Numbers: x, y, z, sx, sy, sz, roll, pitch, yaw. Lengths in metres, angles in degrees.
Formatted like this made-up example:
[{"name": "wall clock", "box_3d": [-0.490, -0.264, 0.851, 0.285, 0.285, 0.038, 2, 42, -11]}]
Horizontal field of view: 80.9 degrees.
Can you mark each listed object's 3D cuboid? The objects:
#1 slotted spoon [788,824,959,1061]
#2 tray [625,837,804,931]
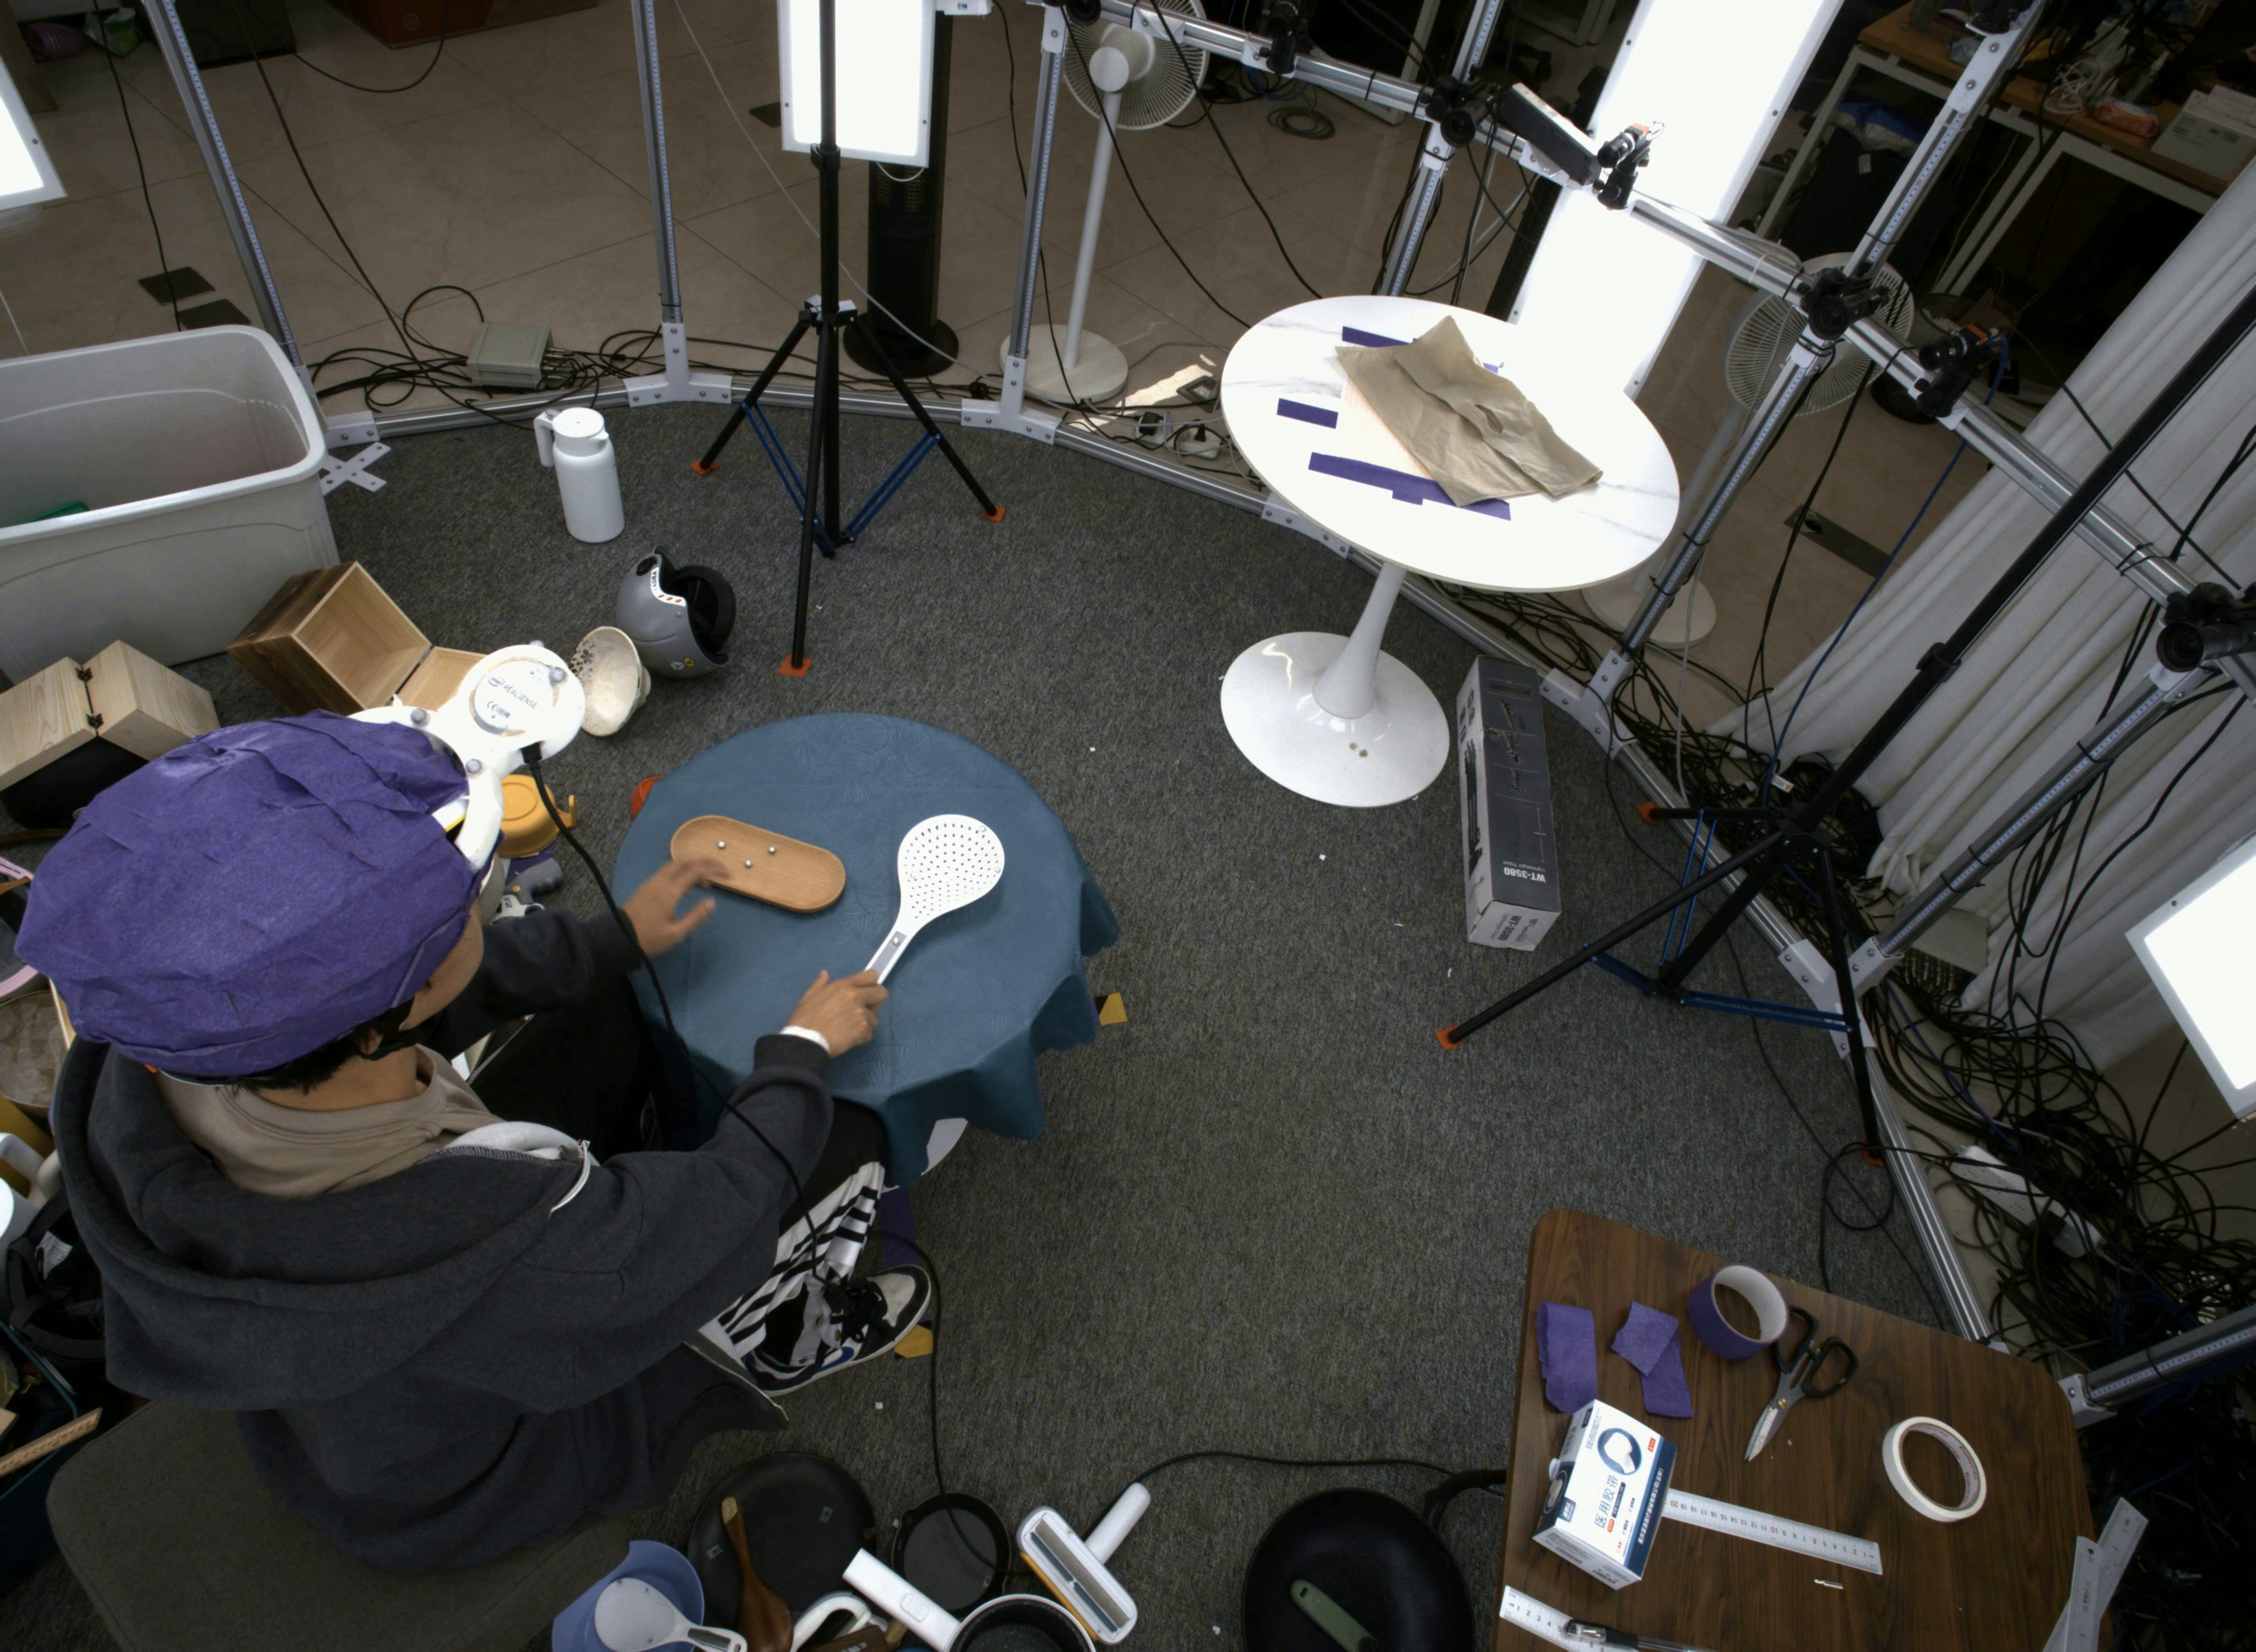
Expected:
[{"name": "slotted spoon", "box_3d": [-0.326, 0.138, 1.621, 0.134, 0.047, 0.347, 22, 53, 6]}, {"name": "tray", "box_3d": [-0.525, 0.072, 1.638, 0.230, 0.021, 0.100, 15, 53, -5]}]
